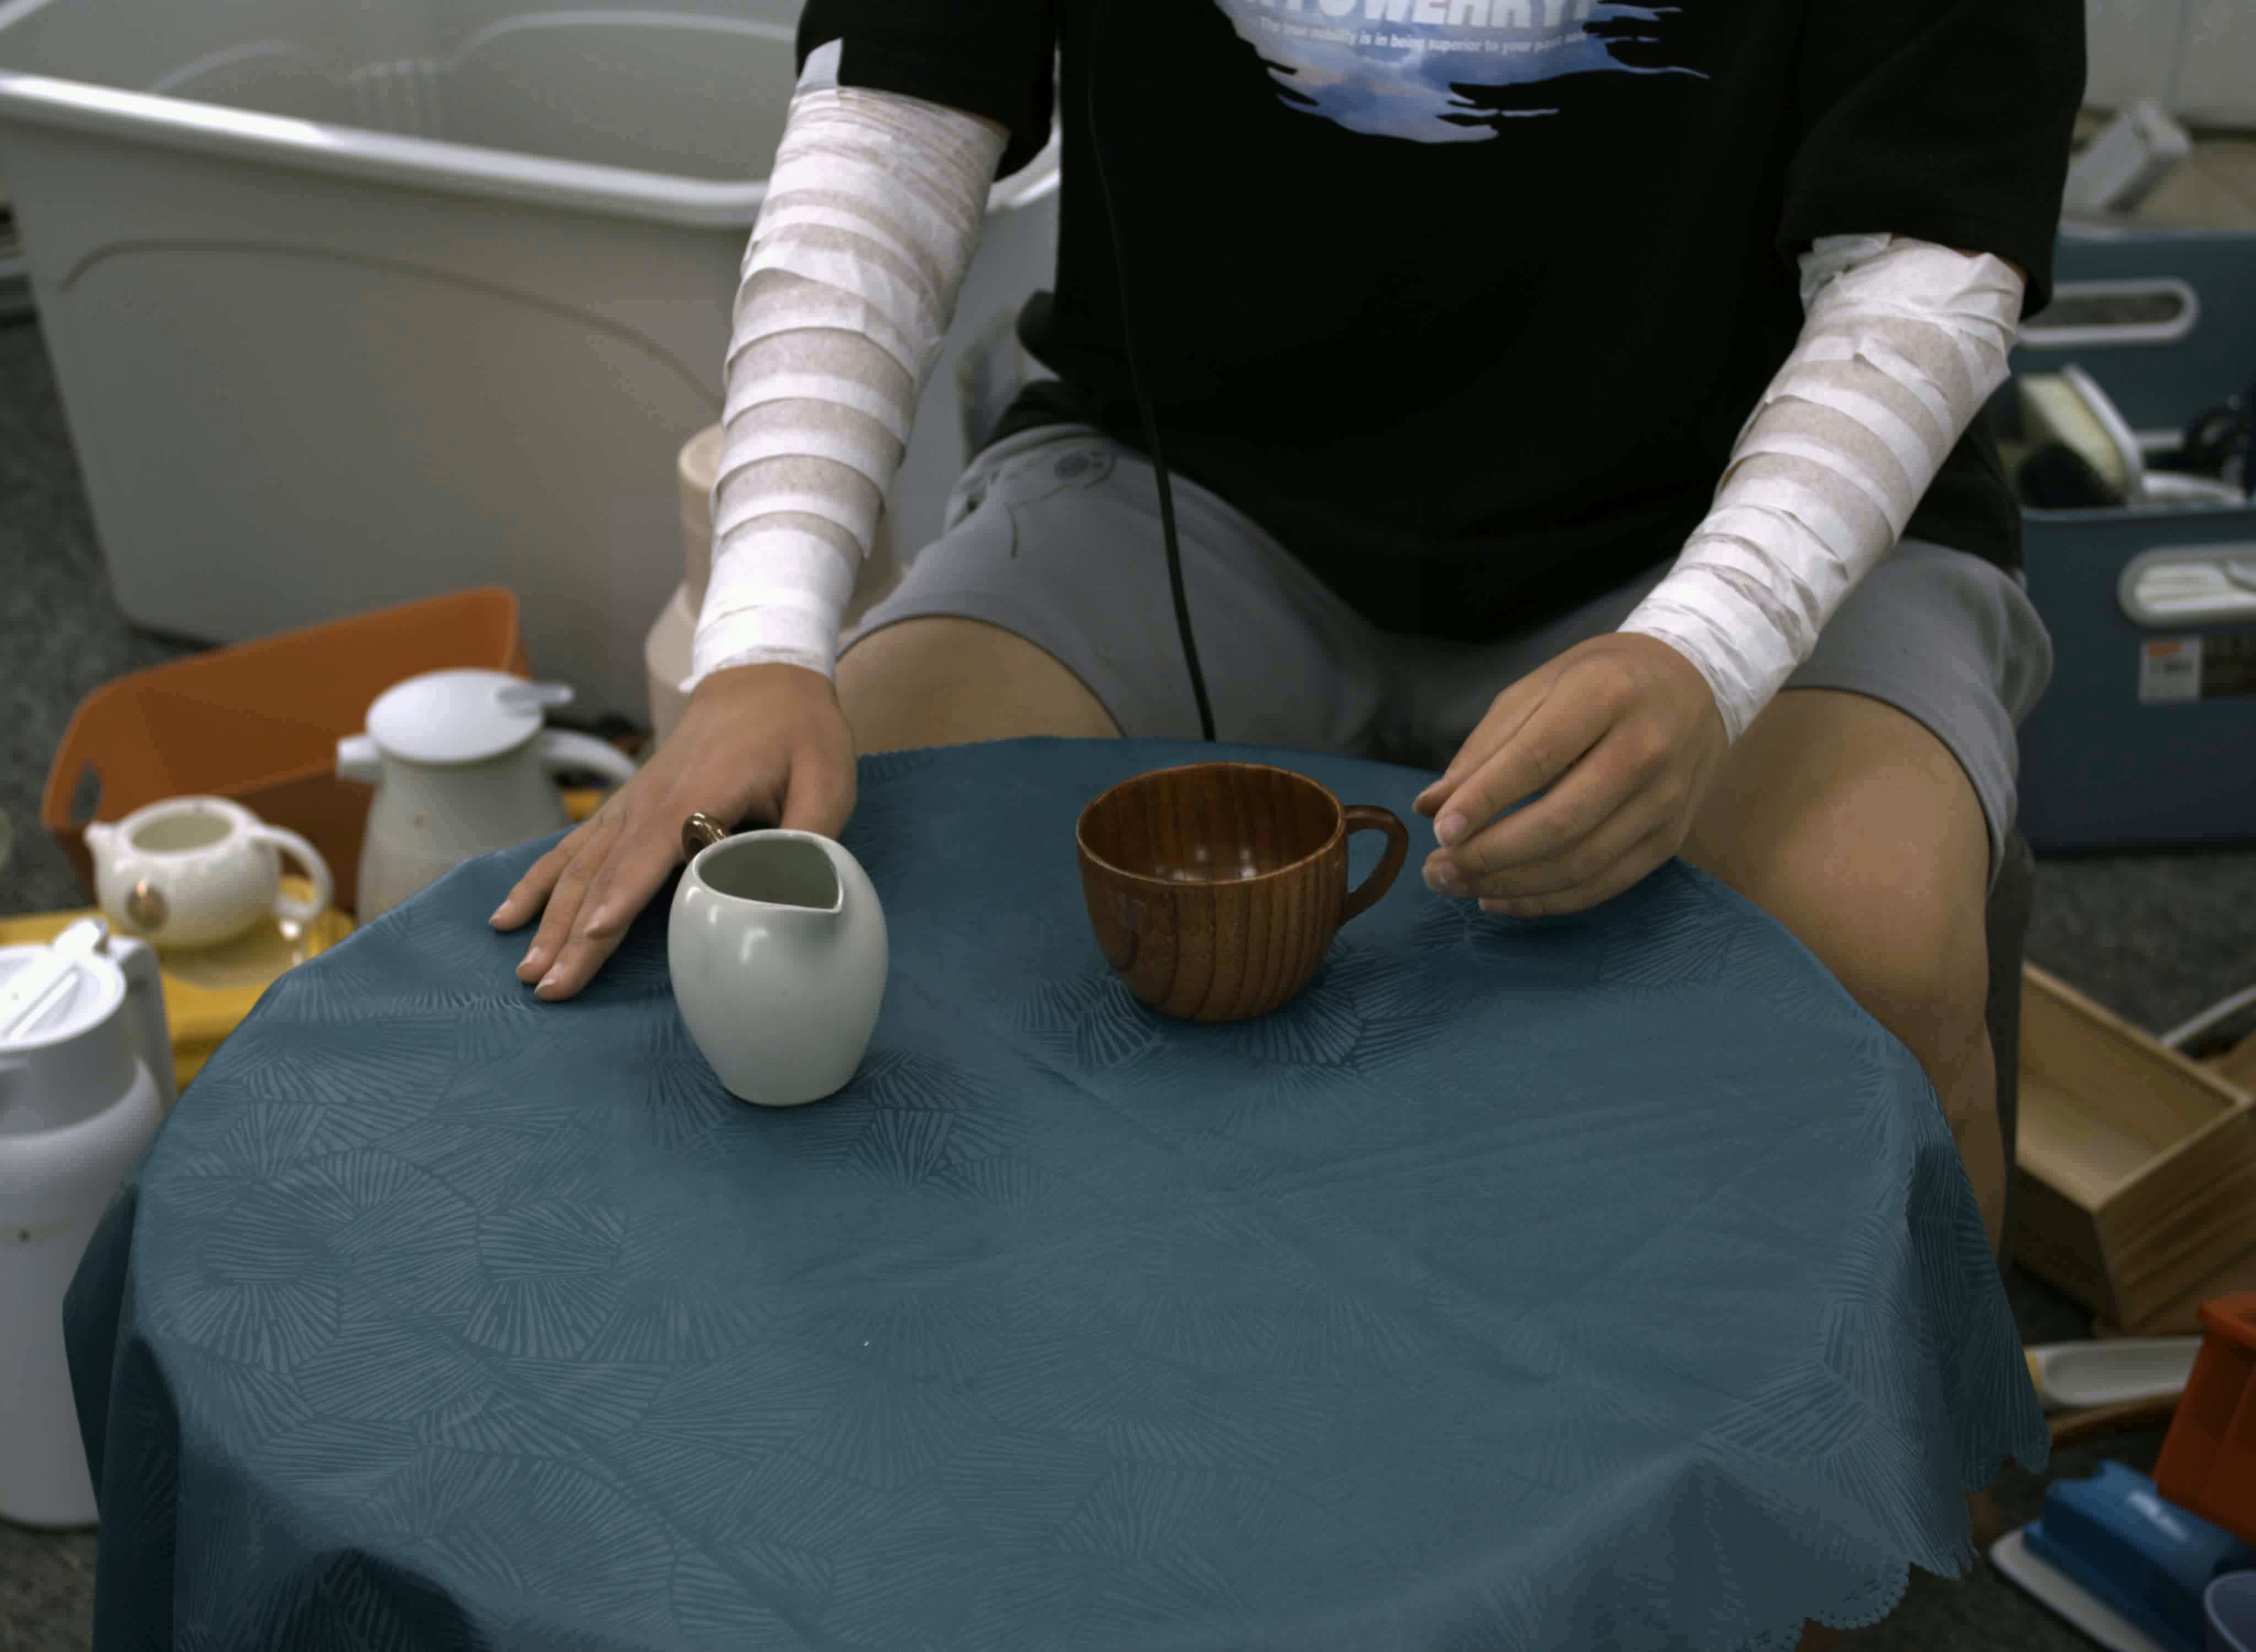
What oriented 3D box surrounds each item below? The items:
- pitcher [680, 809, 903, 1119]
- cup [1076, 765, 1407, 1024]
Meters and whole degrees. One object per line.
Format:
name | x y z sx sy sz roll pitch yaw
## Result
pitcher | -0.118 0.048 1.920 0.076 0.087 0.120 -9 30 -23
cup | 0.042 0.026 1.974 0.119 0.067 0.097 -8 24 -13
